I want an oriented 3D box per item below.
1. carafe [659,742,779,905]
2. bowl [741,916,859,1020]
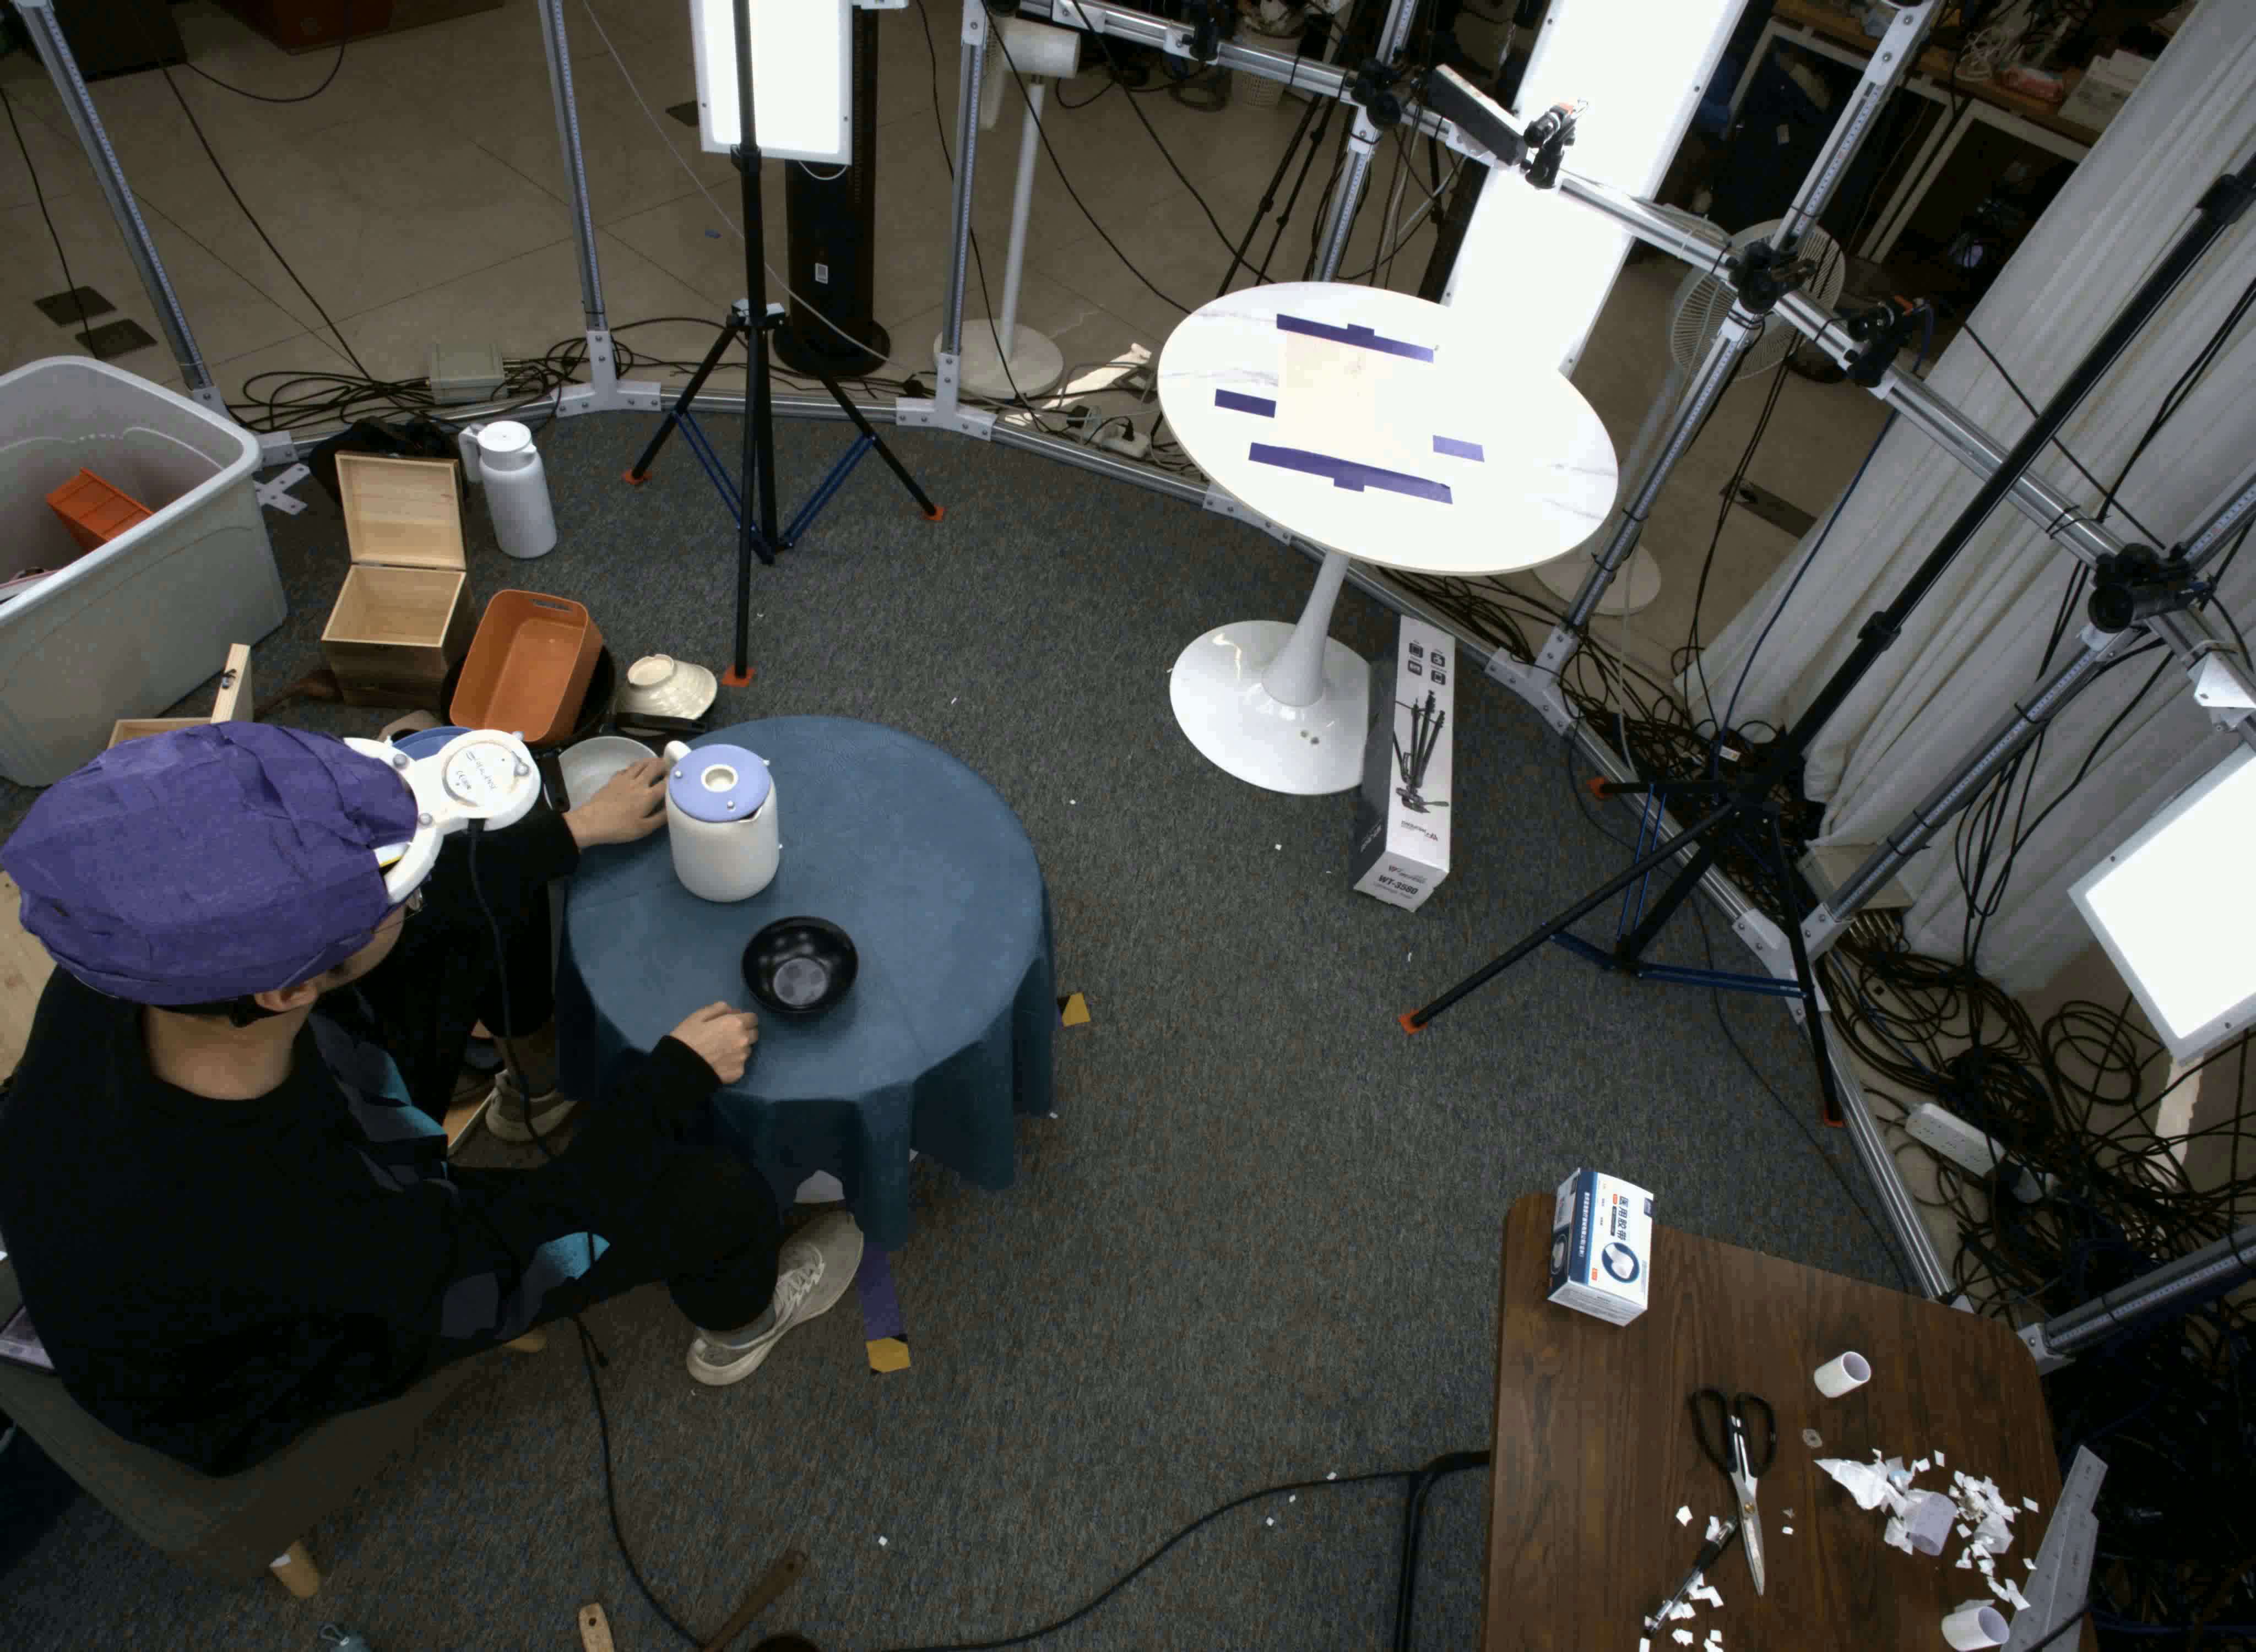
[{"bbox_3d":[-0.521,-0.018,1.608,0.186,0.187,0.132,38,53,19],"label":"carafe"},{"bbox_3d":[-0.397,0.178,1.575,0.139,0.051,0.137,7,54,-7],"label":"bowl"}]
